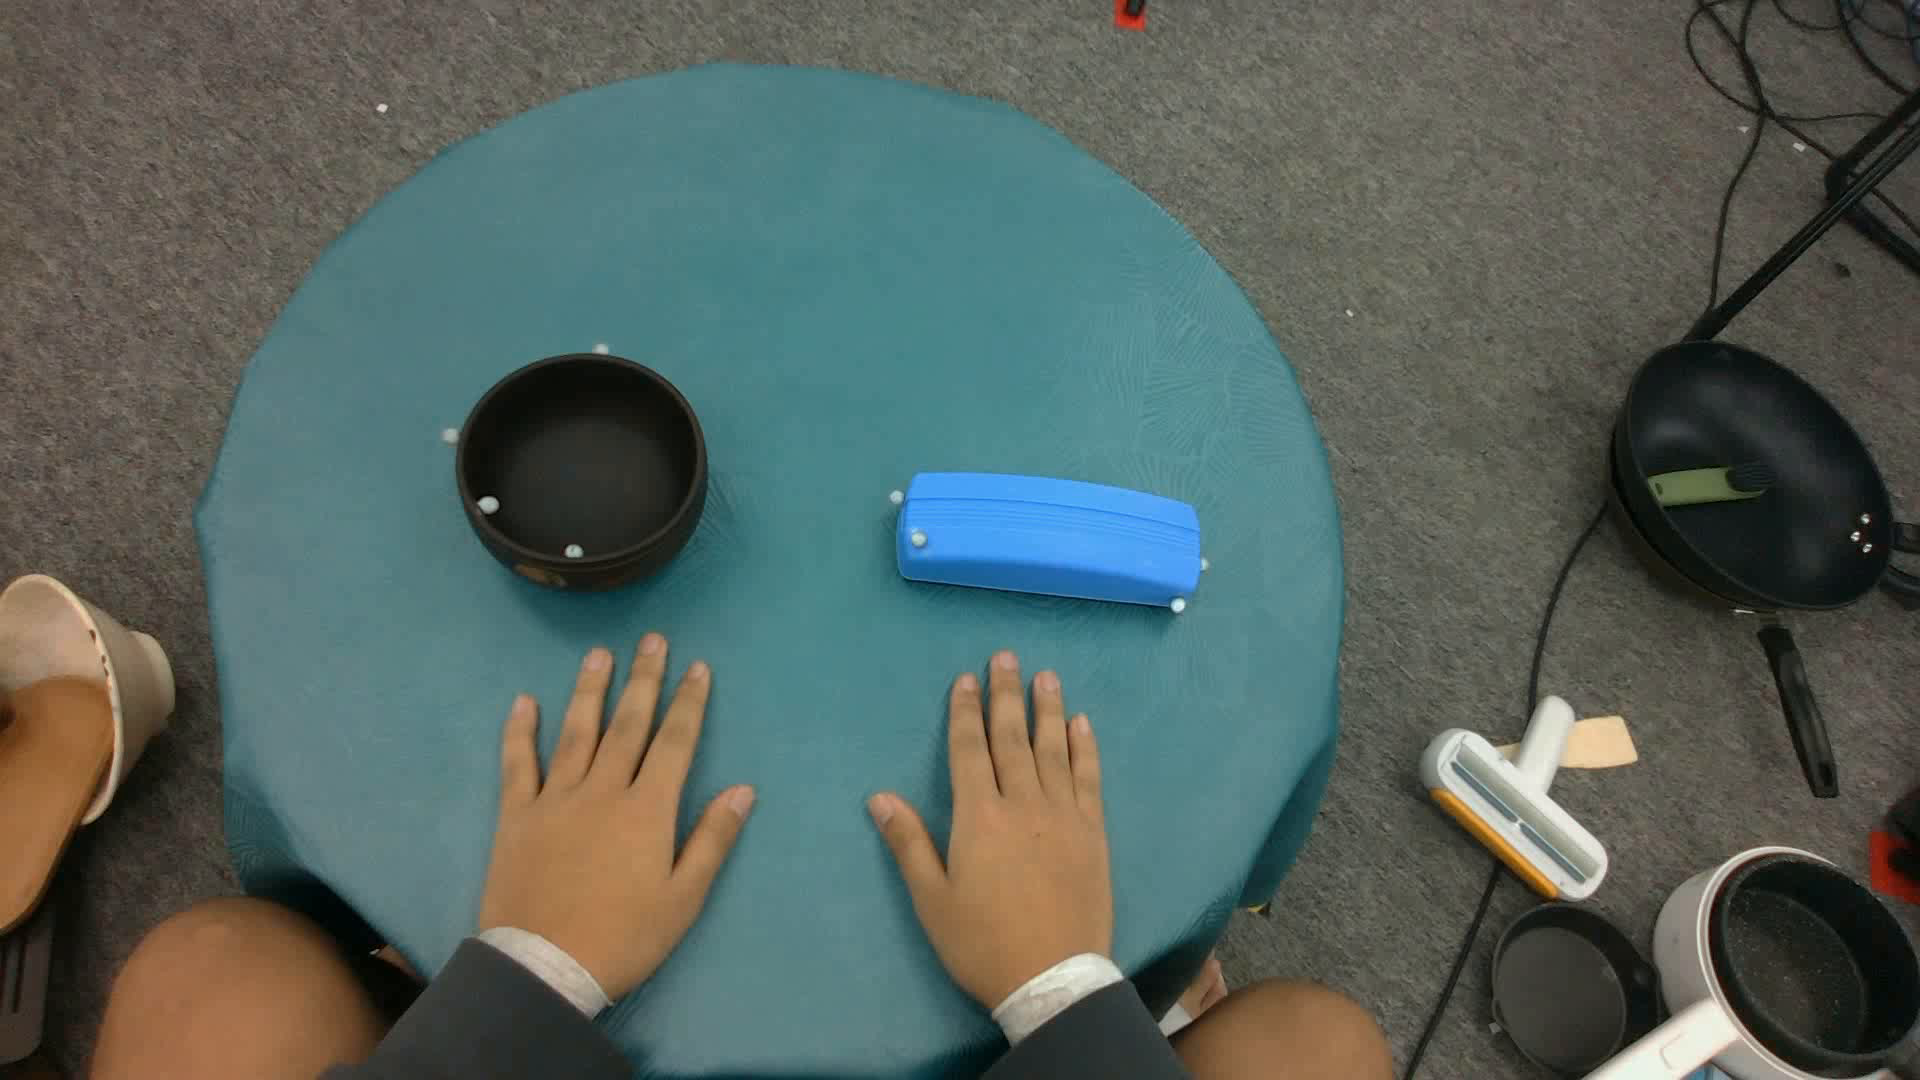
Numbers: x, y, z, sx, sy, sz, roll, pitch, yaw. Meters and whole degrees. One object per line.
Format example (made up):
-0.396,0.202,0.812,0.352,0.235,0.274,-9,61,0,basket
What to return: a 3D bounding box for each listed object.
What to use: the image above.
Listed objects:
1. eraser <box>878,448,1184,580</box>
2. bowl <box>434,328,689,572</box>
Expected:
0.039,-0.016,0.725,0.162,0.047,0.054,5,63,-7,eraser
-0.193,-0.038,0.679,0.118,0.069,0.118,4,65,-9,bowl
